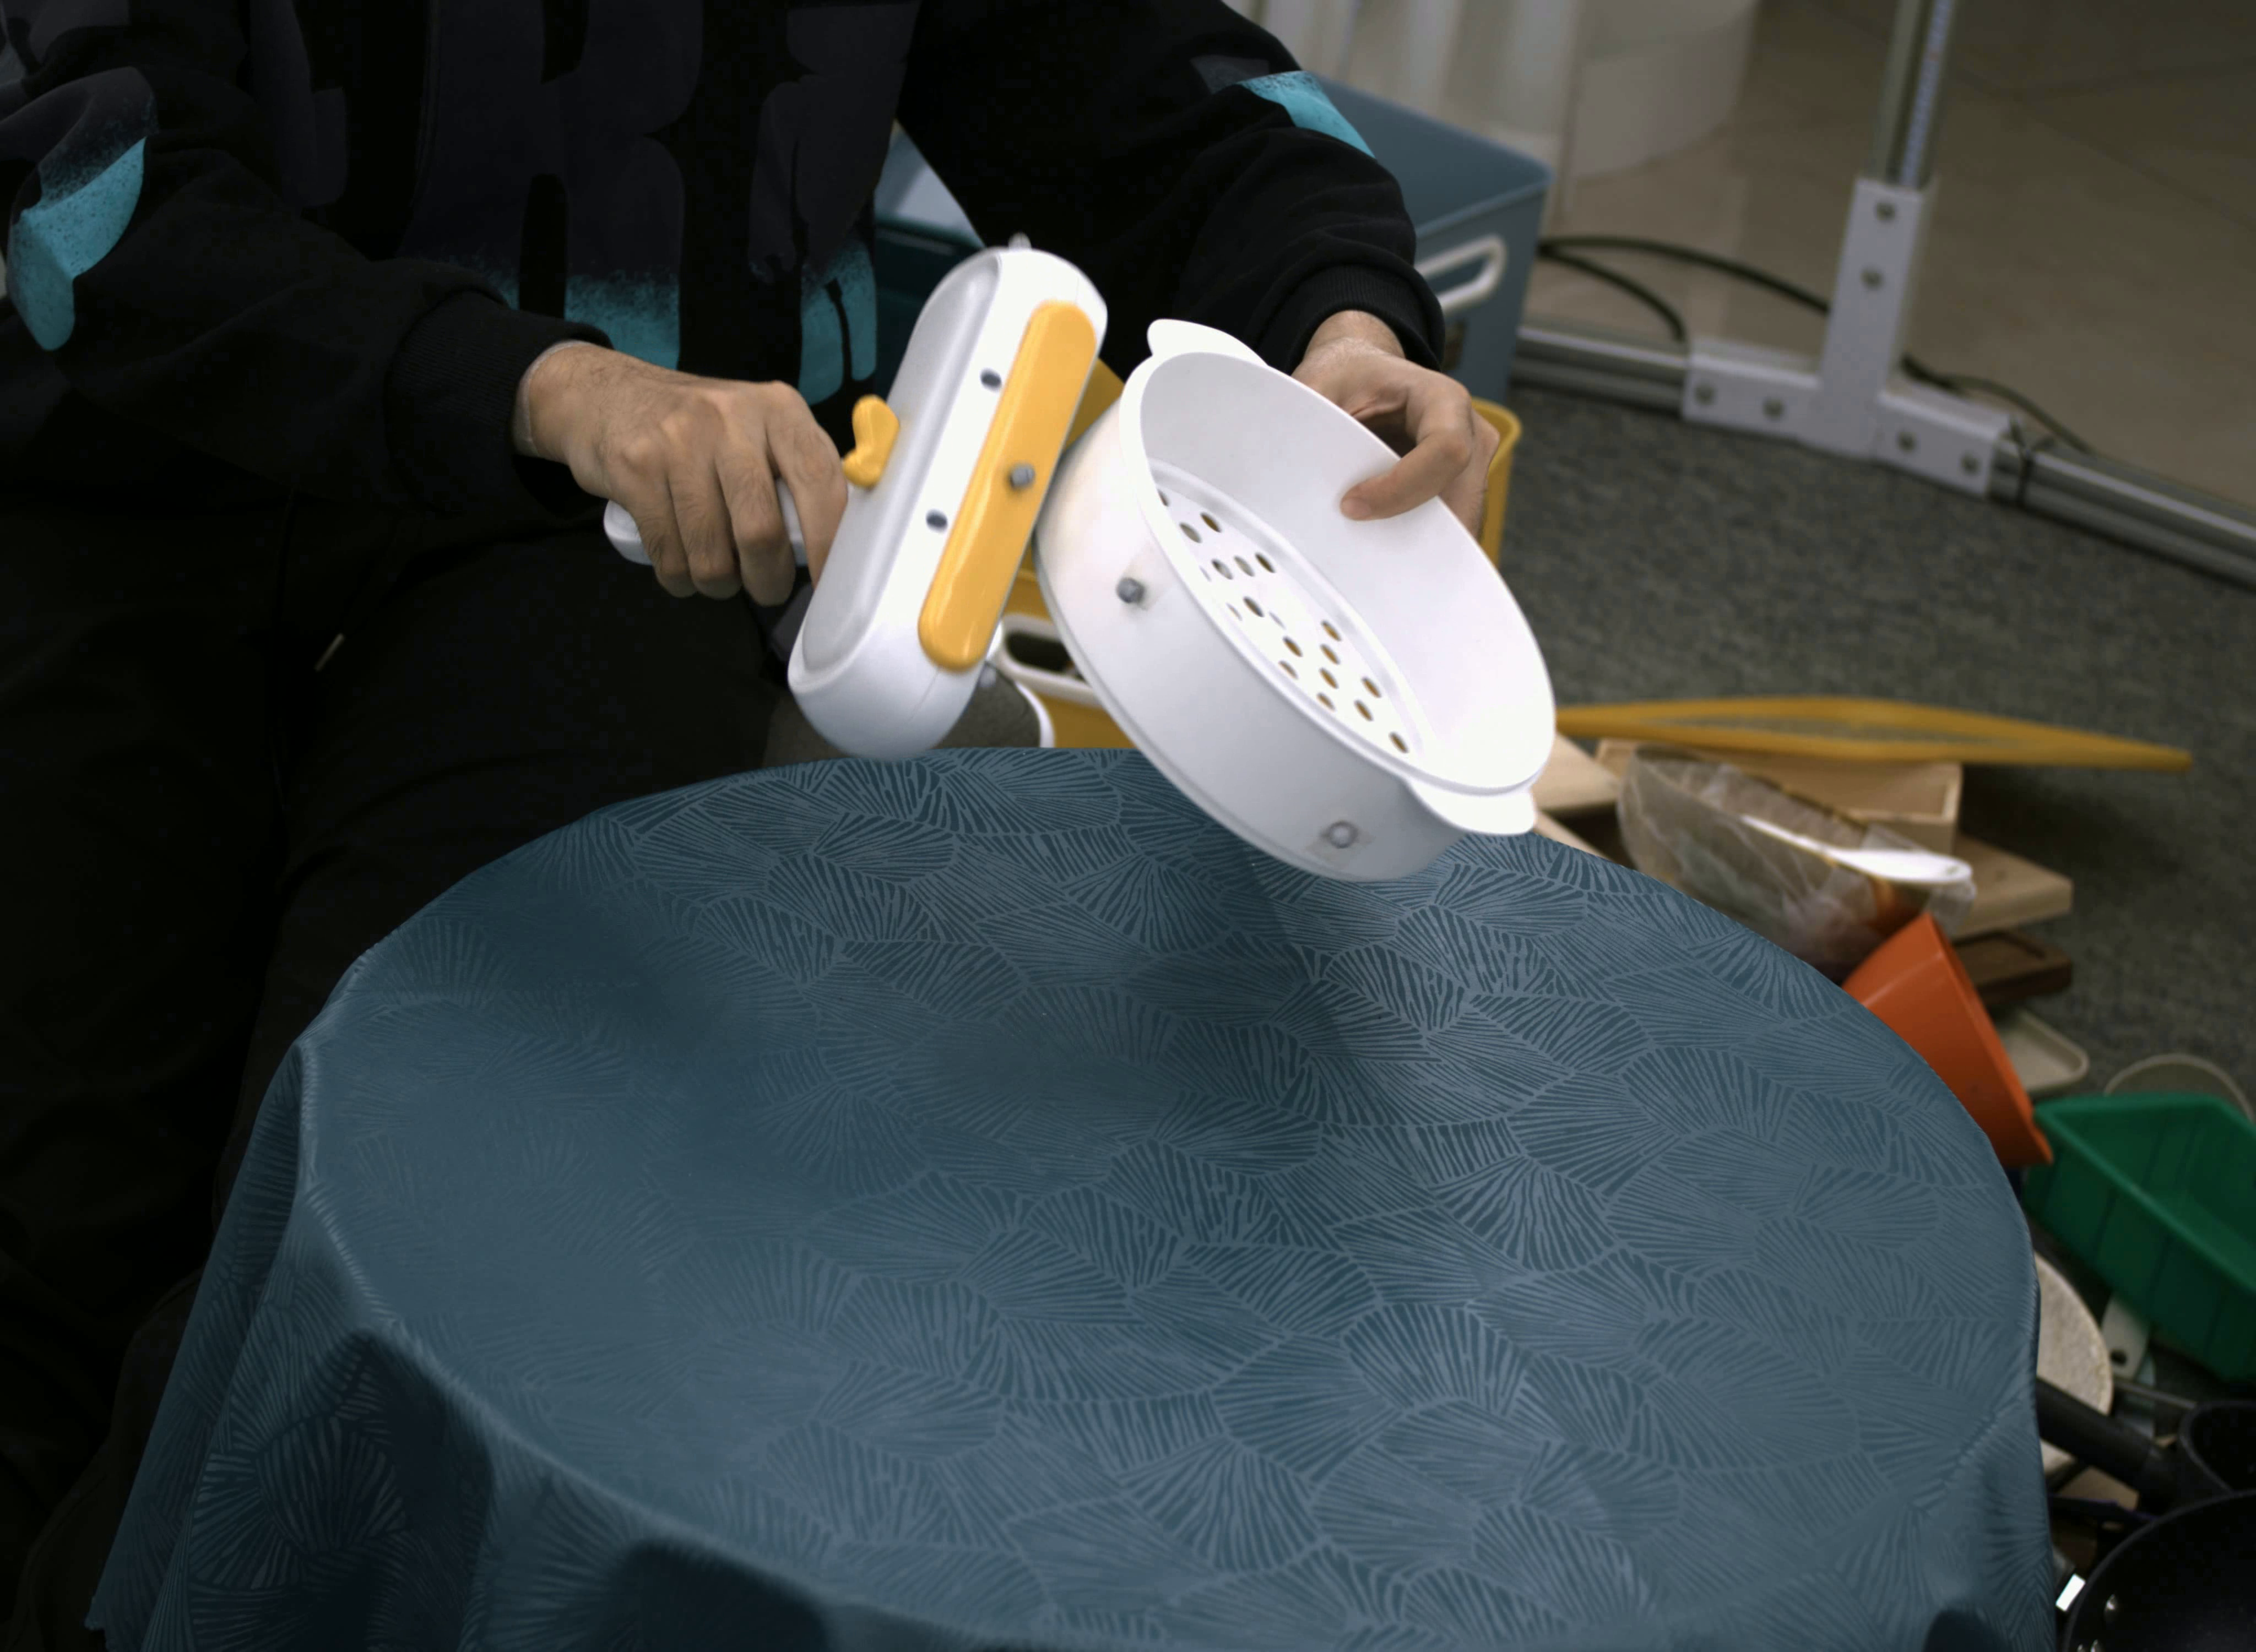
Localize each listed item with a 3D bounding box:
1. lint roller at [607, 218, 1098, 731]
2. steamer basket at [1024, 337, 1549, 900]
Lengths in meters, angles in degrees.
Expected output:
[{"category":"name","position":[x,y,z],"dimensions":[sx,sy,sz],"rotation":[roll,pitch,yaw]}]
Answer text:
[{"category":"lint roller","position":[-0.104,-0.115,1.869],"dimensions":[0.073,0.194,0.193],"rotation":[31,-30,-34]},{"category":"steamer basket","position":[0.053,-0.066,1.855],"dimensions":[0.200,0.069,0.232],"rotation":[8,44,-52]}]
